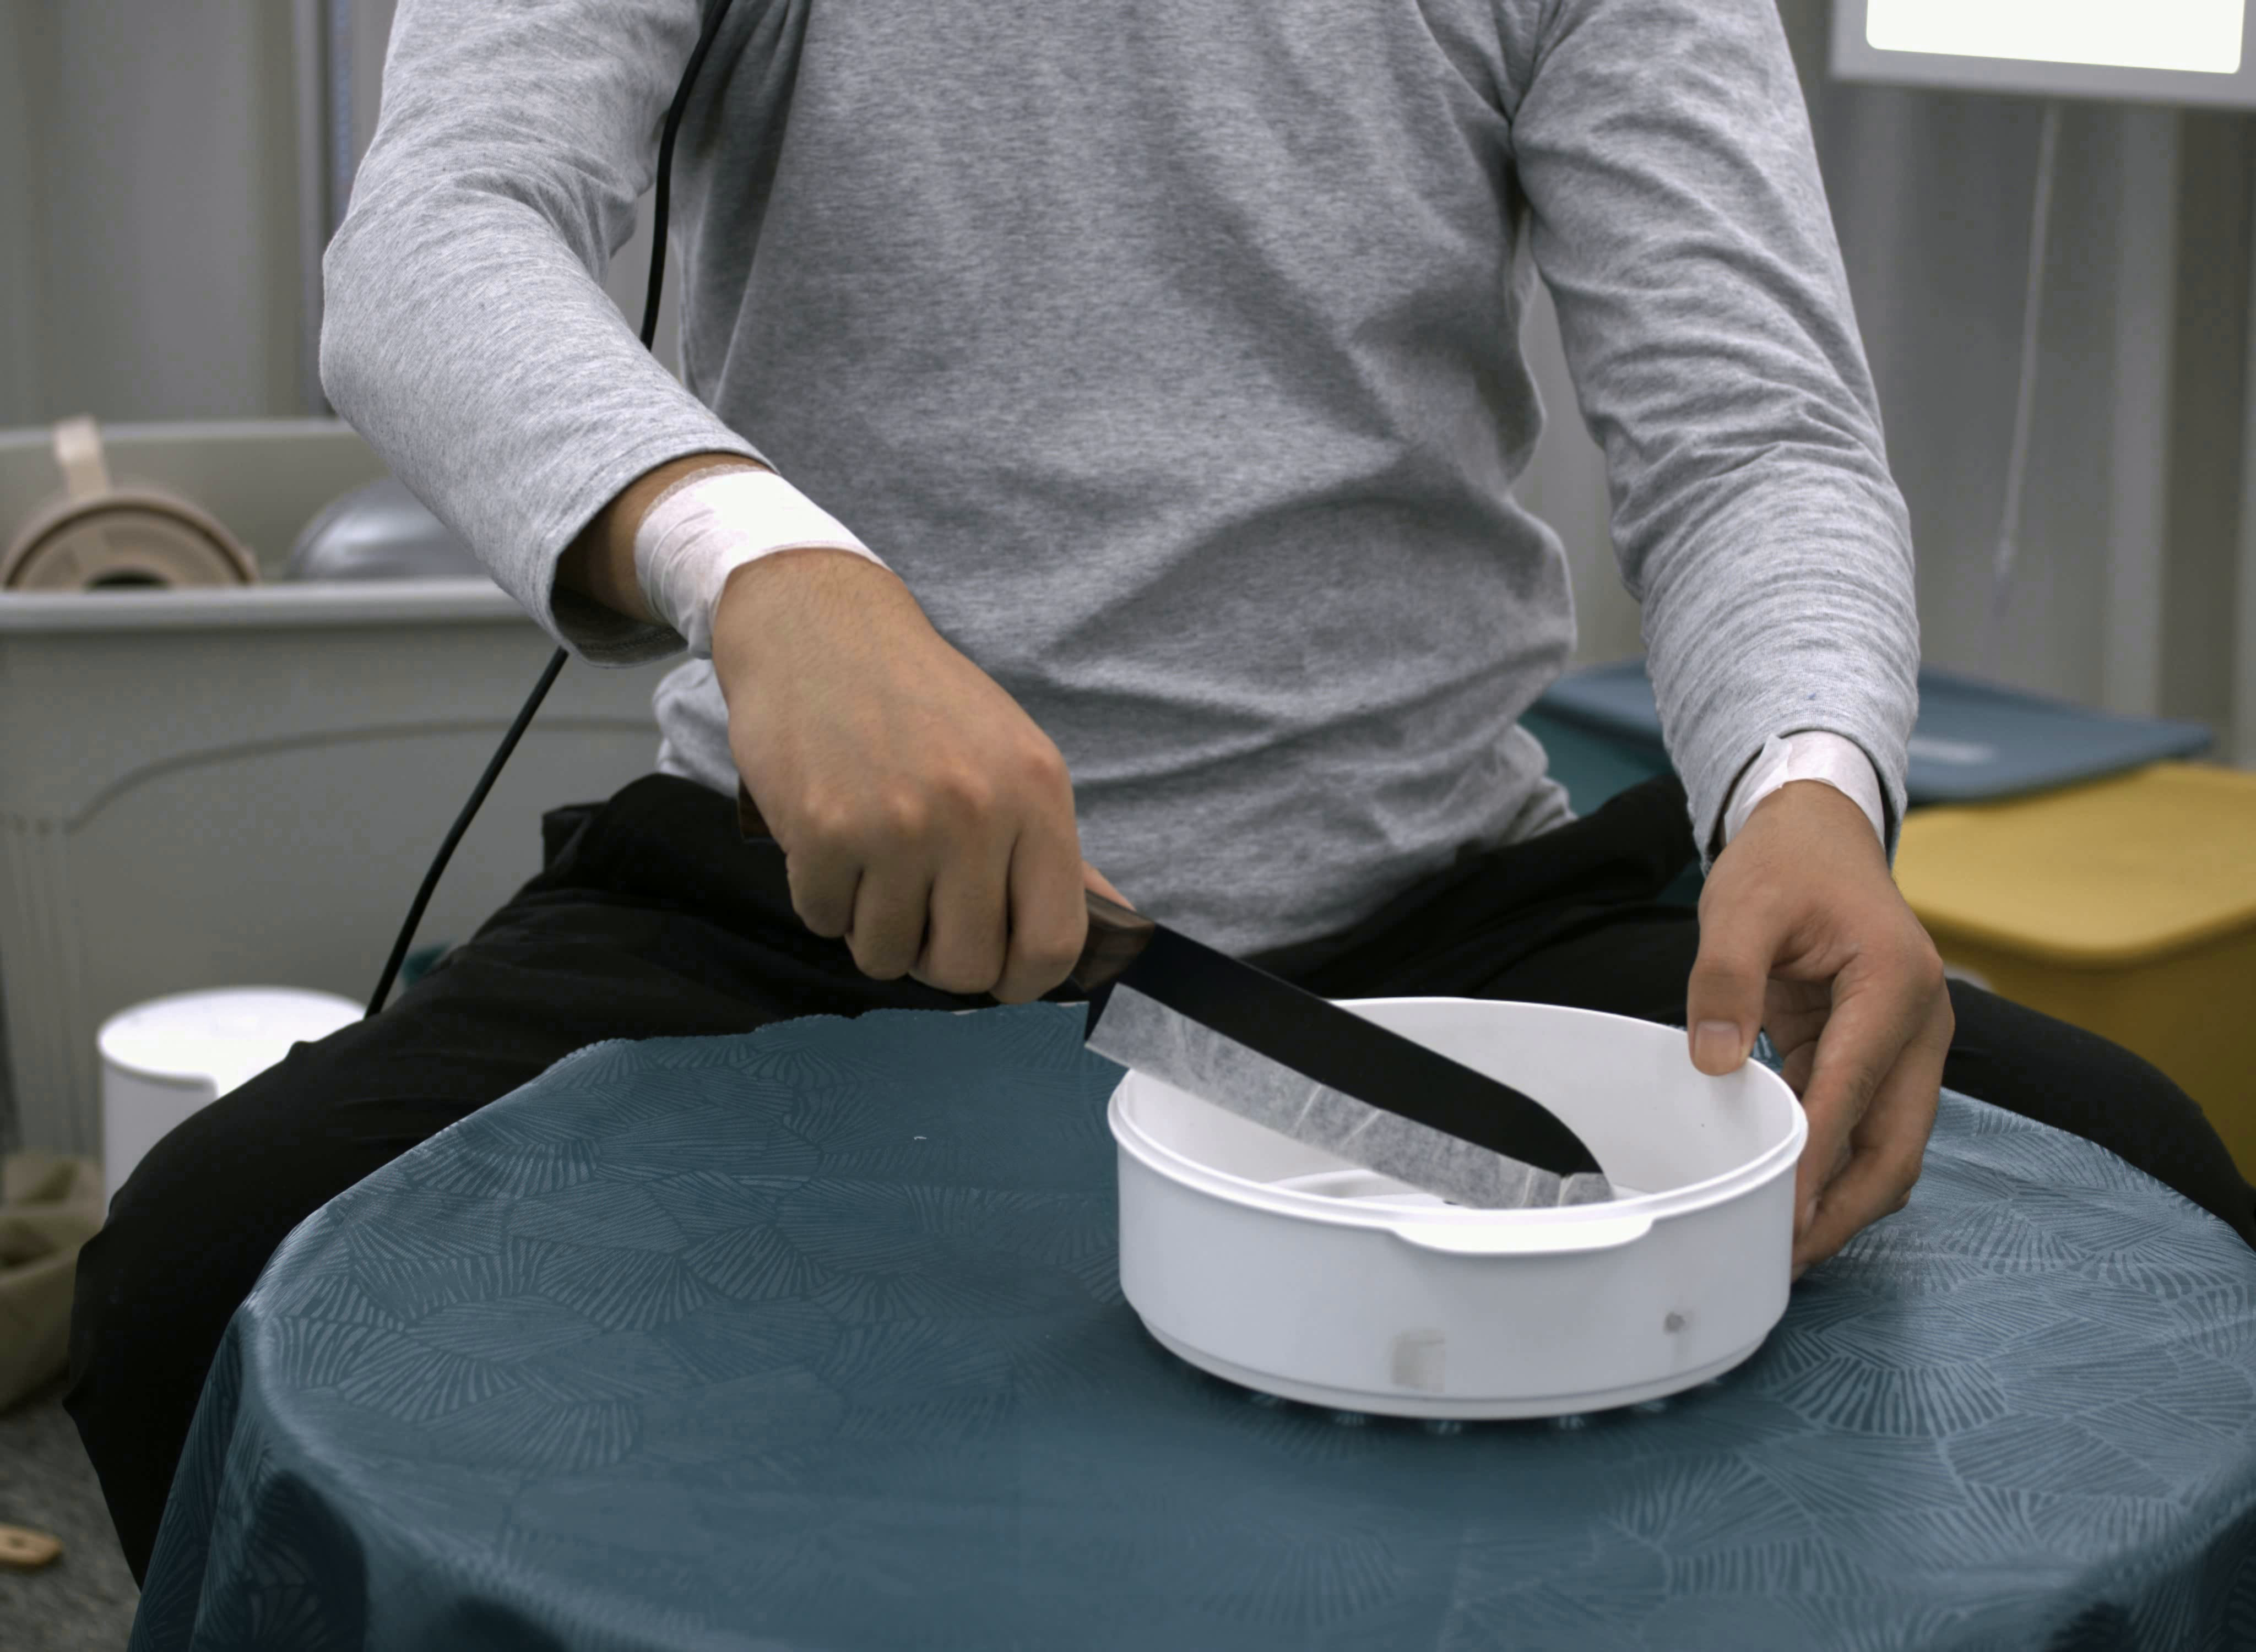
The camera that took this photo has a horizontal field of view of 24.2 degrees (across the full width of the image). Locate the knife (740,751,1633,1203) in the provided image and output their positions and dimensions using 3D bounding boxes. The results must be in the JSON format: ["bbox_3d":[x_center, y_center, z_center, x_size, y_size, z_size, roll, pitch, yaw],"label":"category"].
[{"bbox_3d":[0.017,0.050,1.502,0.289,0.050,0.020,27,23,-3],"label":"knife"}]

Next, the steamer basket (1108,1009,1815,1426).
[{"bbox_3d":[0.094,0.111,1.507,0.202,0.070,0.229,-1,15,-8],"label":"steamer basket"}]
